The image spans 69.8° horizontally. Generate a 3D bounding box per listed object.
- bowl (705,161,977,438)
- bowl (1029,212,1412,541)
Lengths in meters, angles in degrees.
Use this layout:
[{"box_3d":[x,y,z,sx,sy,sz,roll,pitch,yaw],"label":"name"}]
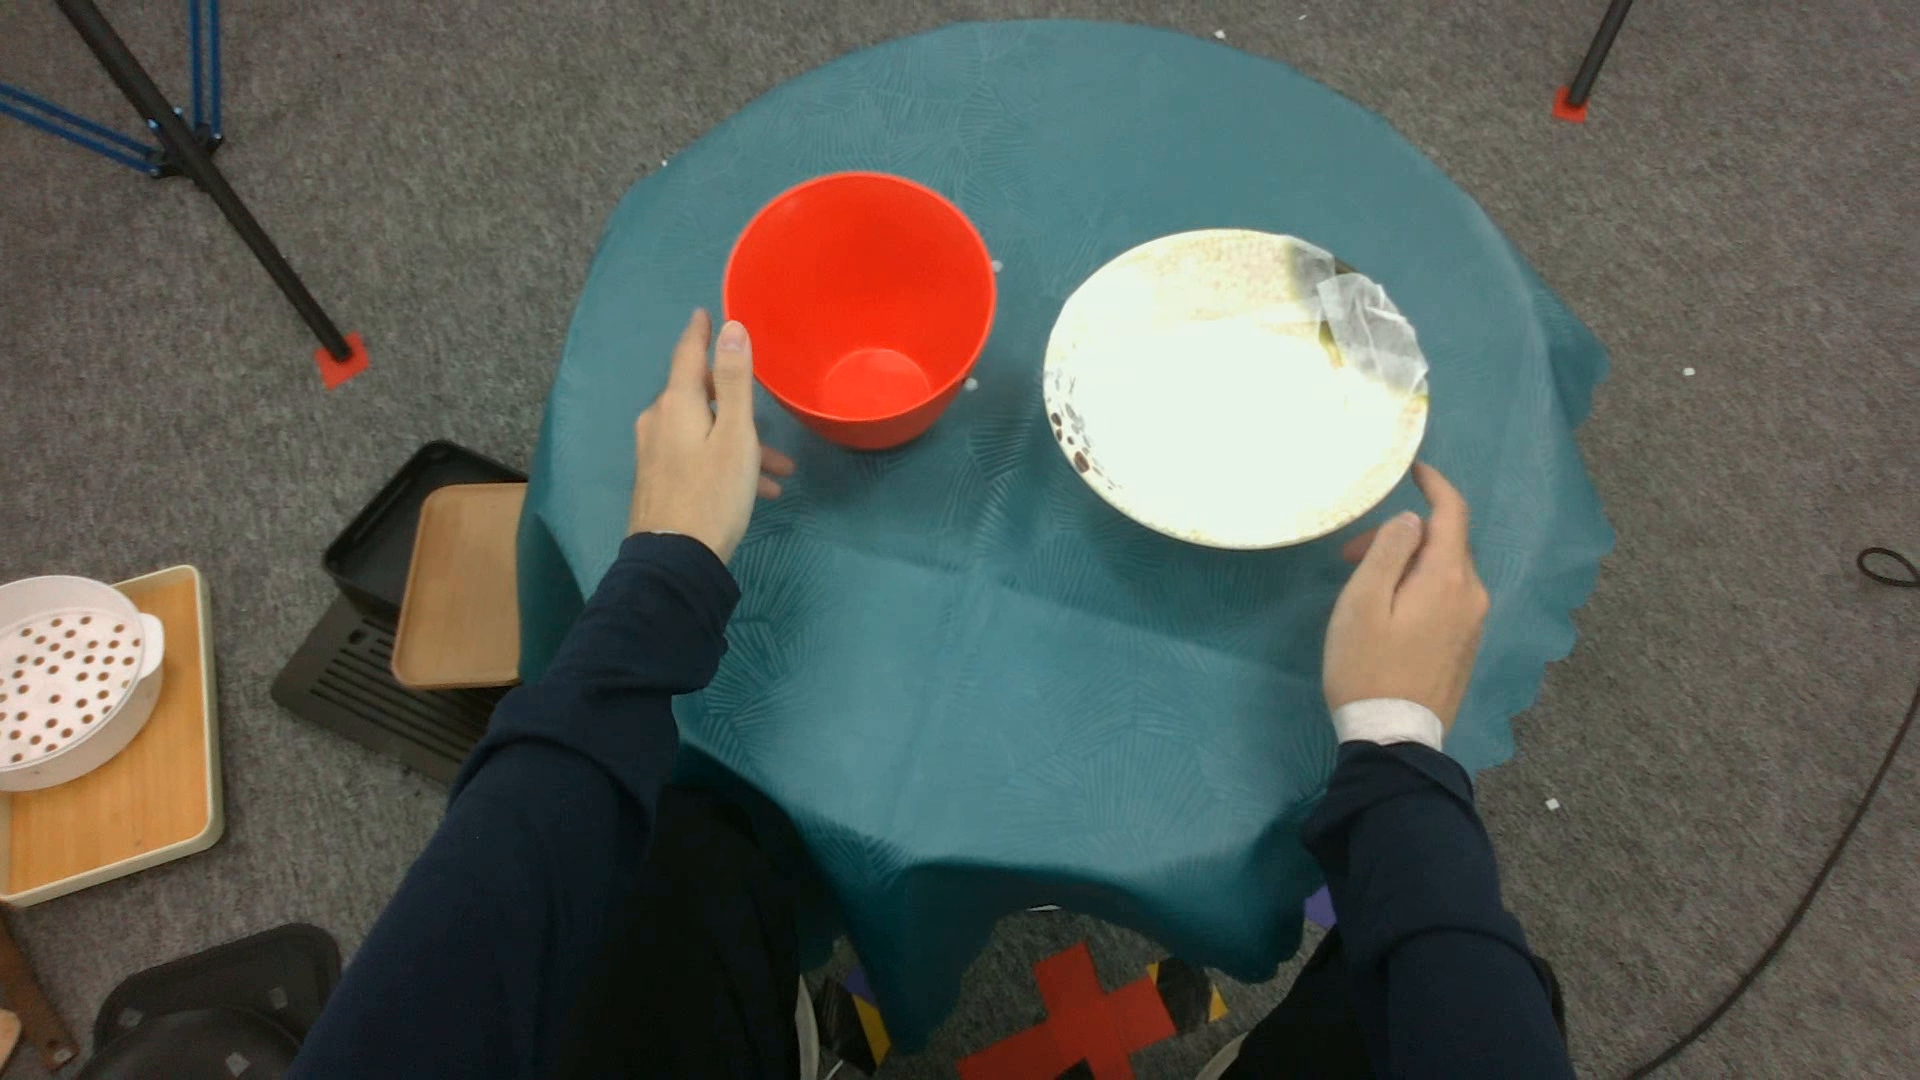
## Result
[{"box_3d":[-0.063,-0.123,0.782,0.148,0.104,0.148,0,65,1],"label":"bowl"},{"box_3d":[0.141,-0.079,0.773,0.204,0.077,0.204,-1,66,2],"label":"bowl"}]
